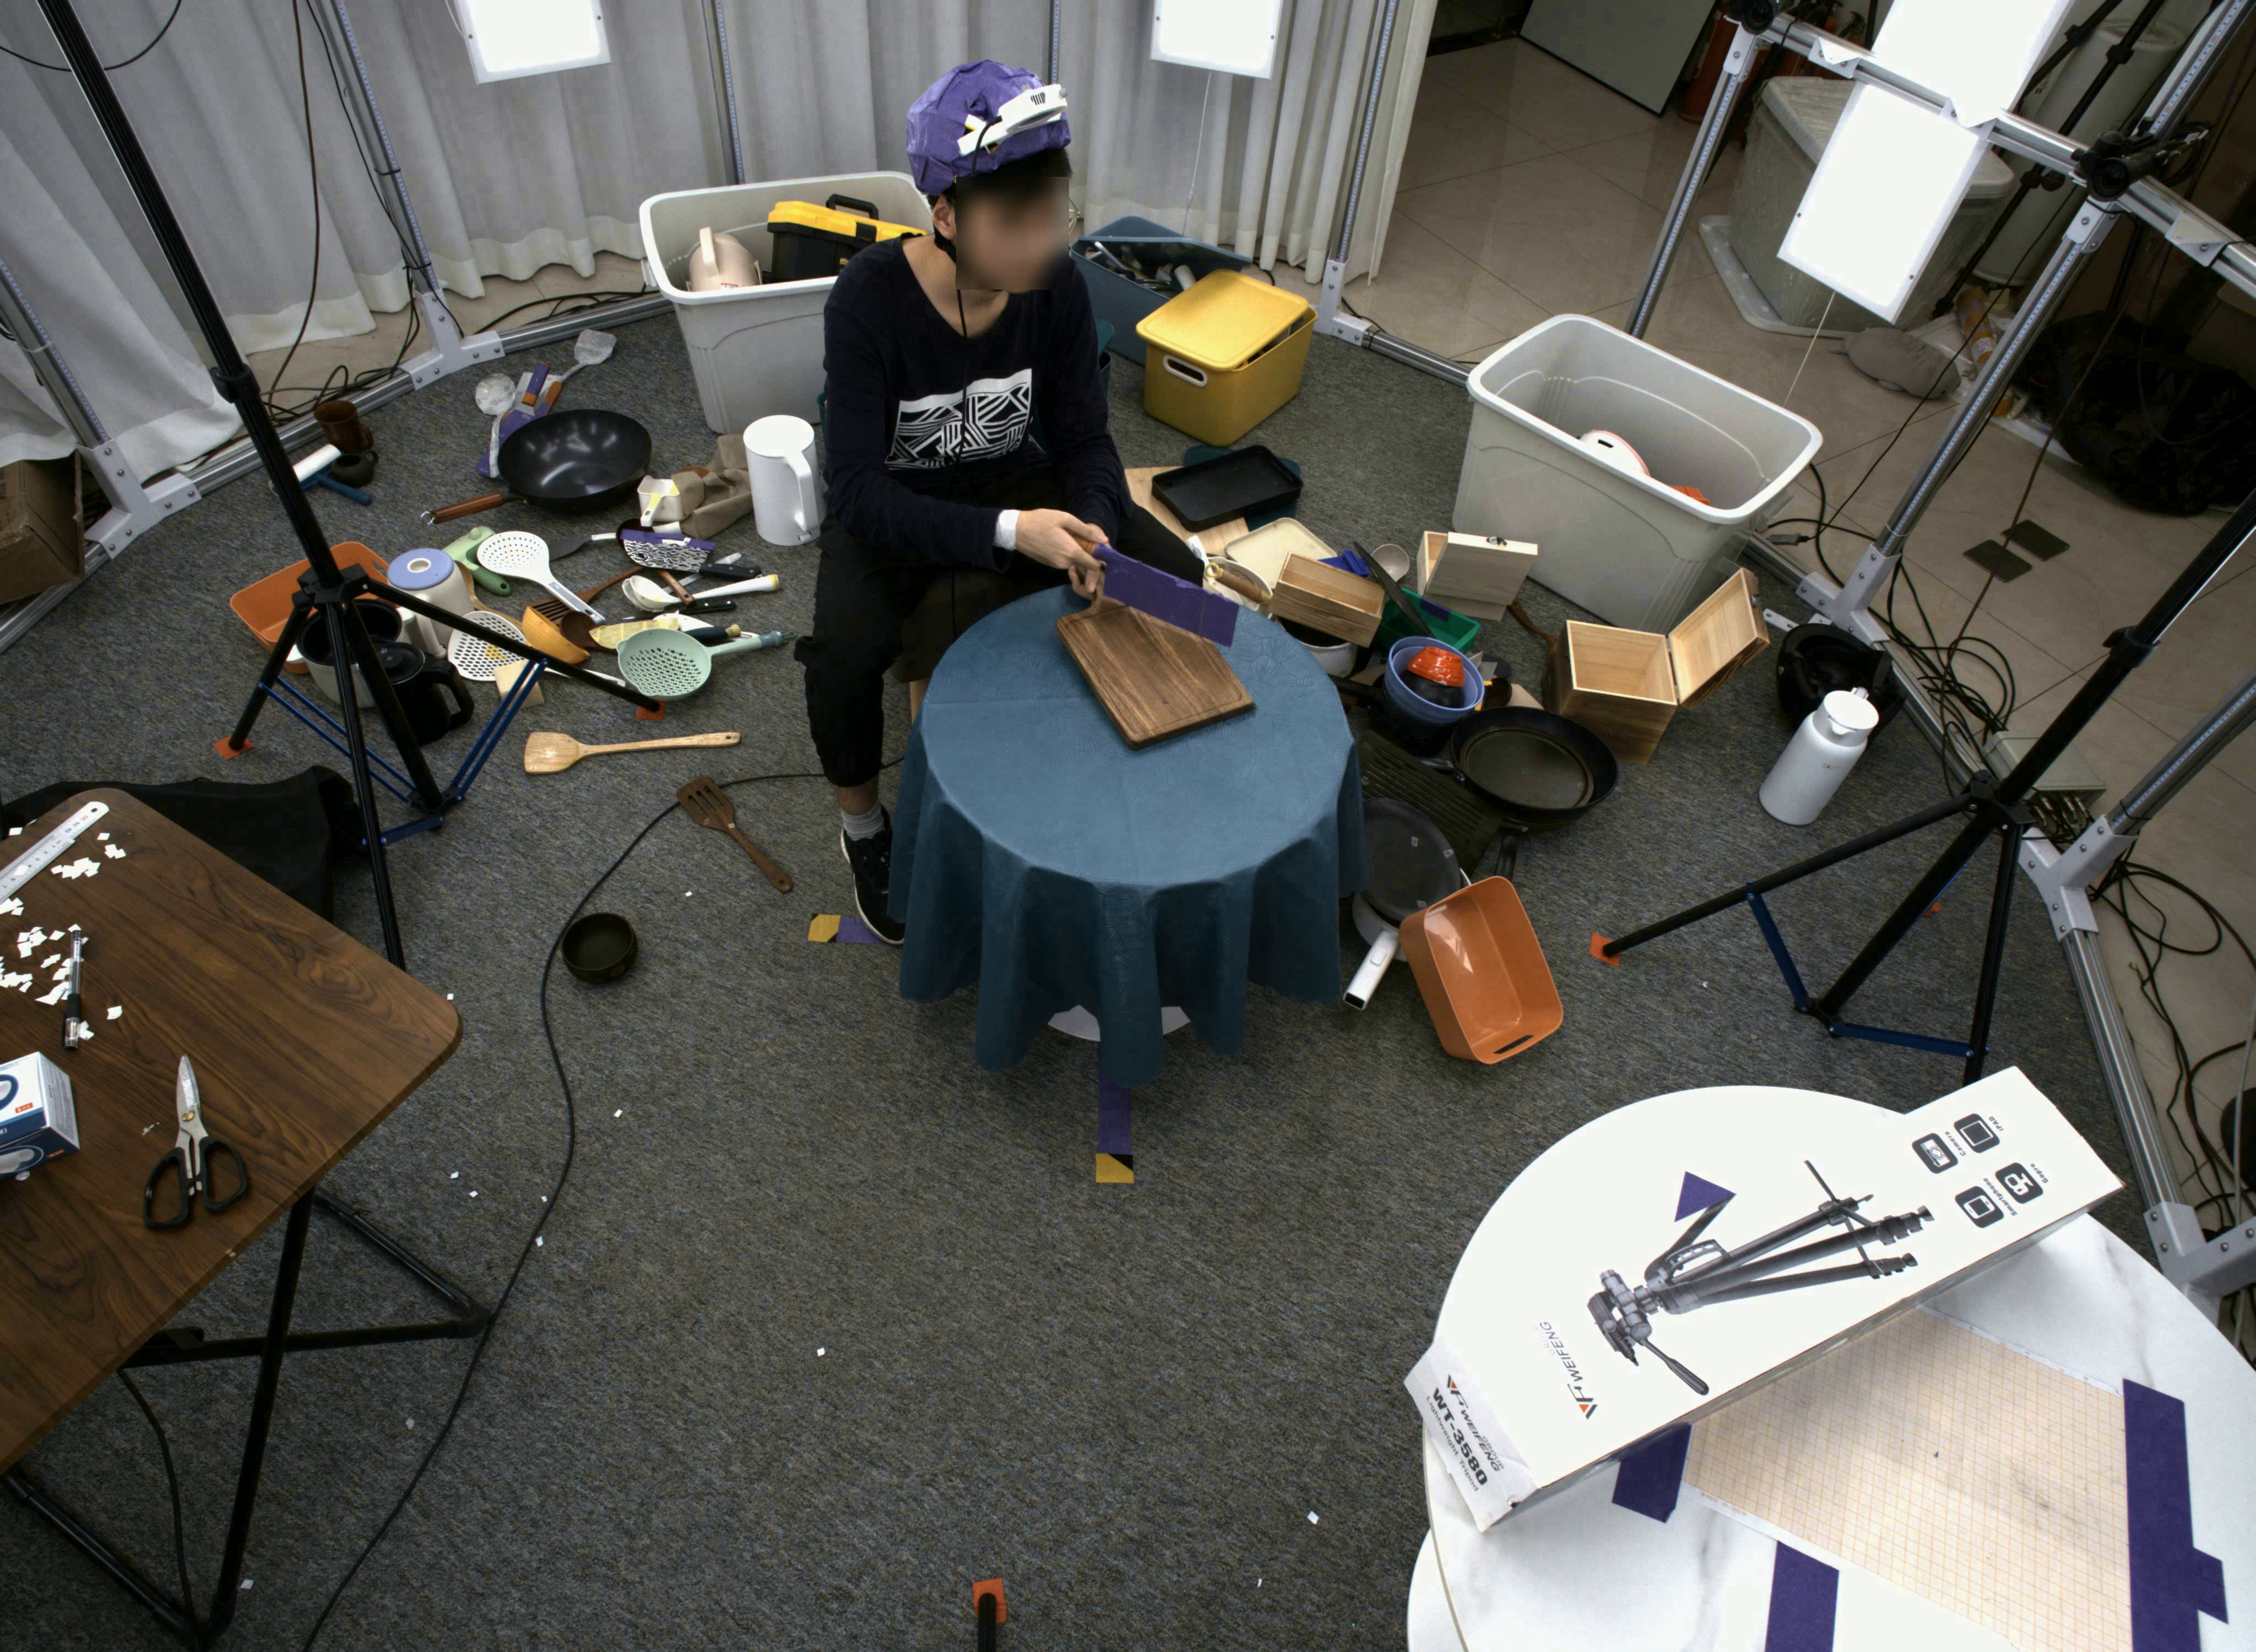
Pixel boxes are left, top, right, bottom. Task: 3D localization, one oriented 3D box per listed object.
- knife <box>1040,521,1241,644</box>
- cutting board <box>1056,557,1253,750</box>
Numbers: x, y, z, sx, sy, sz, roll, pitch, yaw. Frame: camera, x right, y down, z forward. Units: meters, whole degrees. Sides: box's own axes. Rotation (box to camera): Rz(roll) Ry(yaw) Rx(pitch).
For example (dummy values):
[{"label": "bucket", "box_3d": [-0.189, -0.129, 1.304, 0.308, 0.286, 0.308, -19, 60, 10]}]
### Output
[{"label": "knife", "box_3d": [0.014, -0.345, 1.854, 0.317, 0.101, 0.033, 26, 54, 14]}, {"label": "cutting board", "box_3d": [0.014, -0.271, 1.871, 0.201, 0.022, 0.359, -19, 58, -19]}]
